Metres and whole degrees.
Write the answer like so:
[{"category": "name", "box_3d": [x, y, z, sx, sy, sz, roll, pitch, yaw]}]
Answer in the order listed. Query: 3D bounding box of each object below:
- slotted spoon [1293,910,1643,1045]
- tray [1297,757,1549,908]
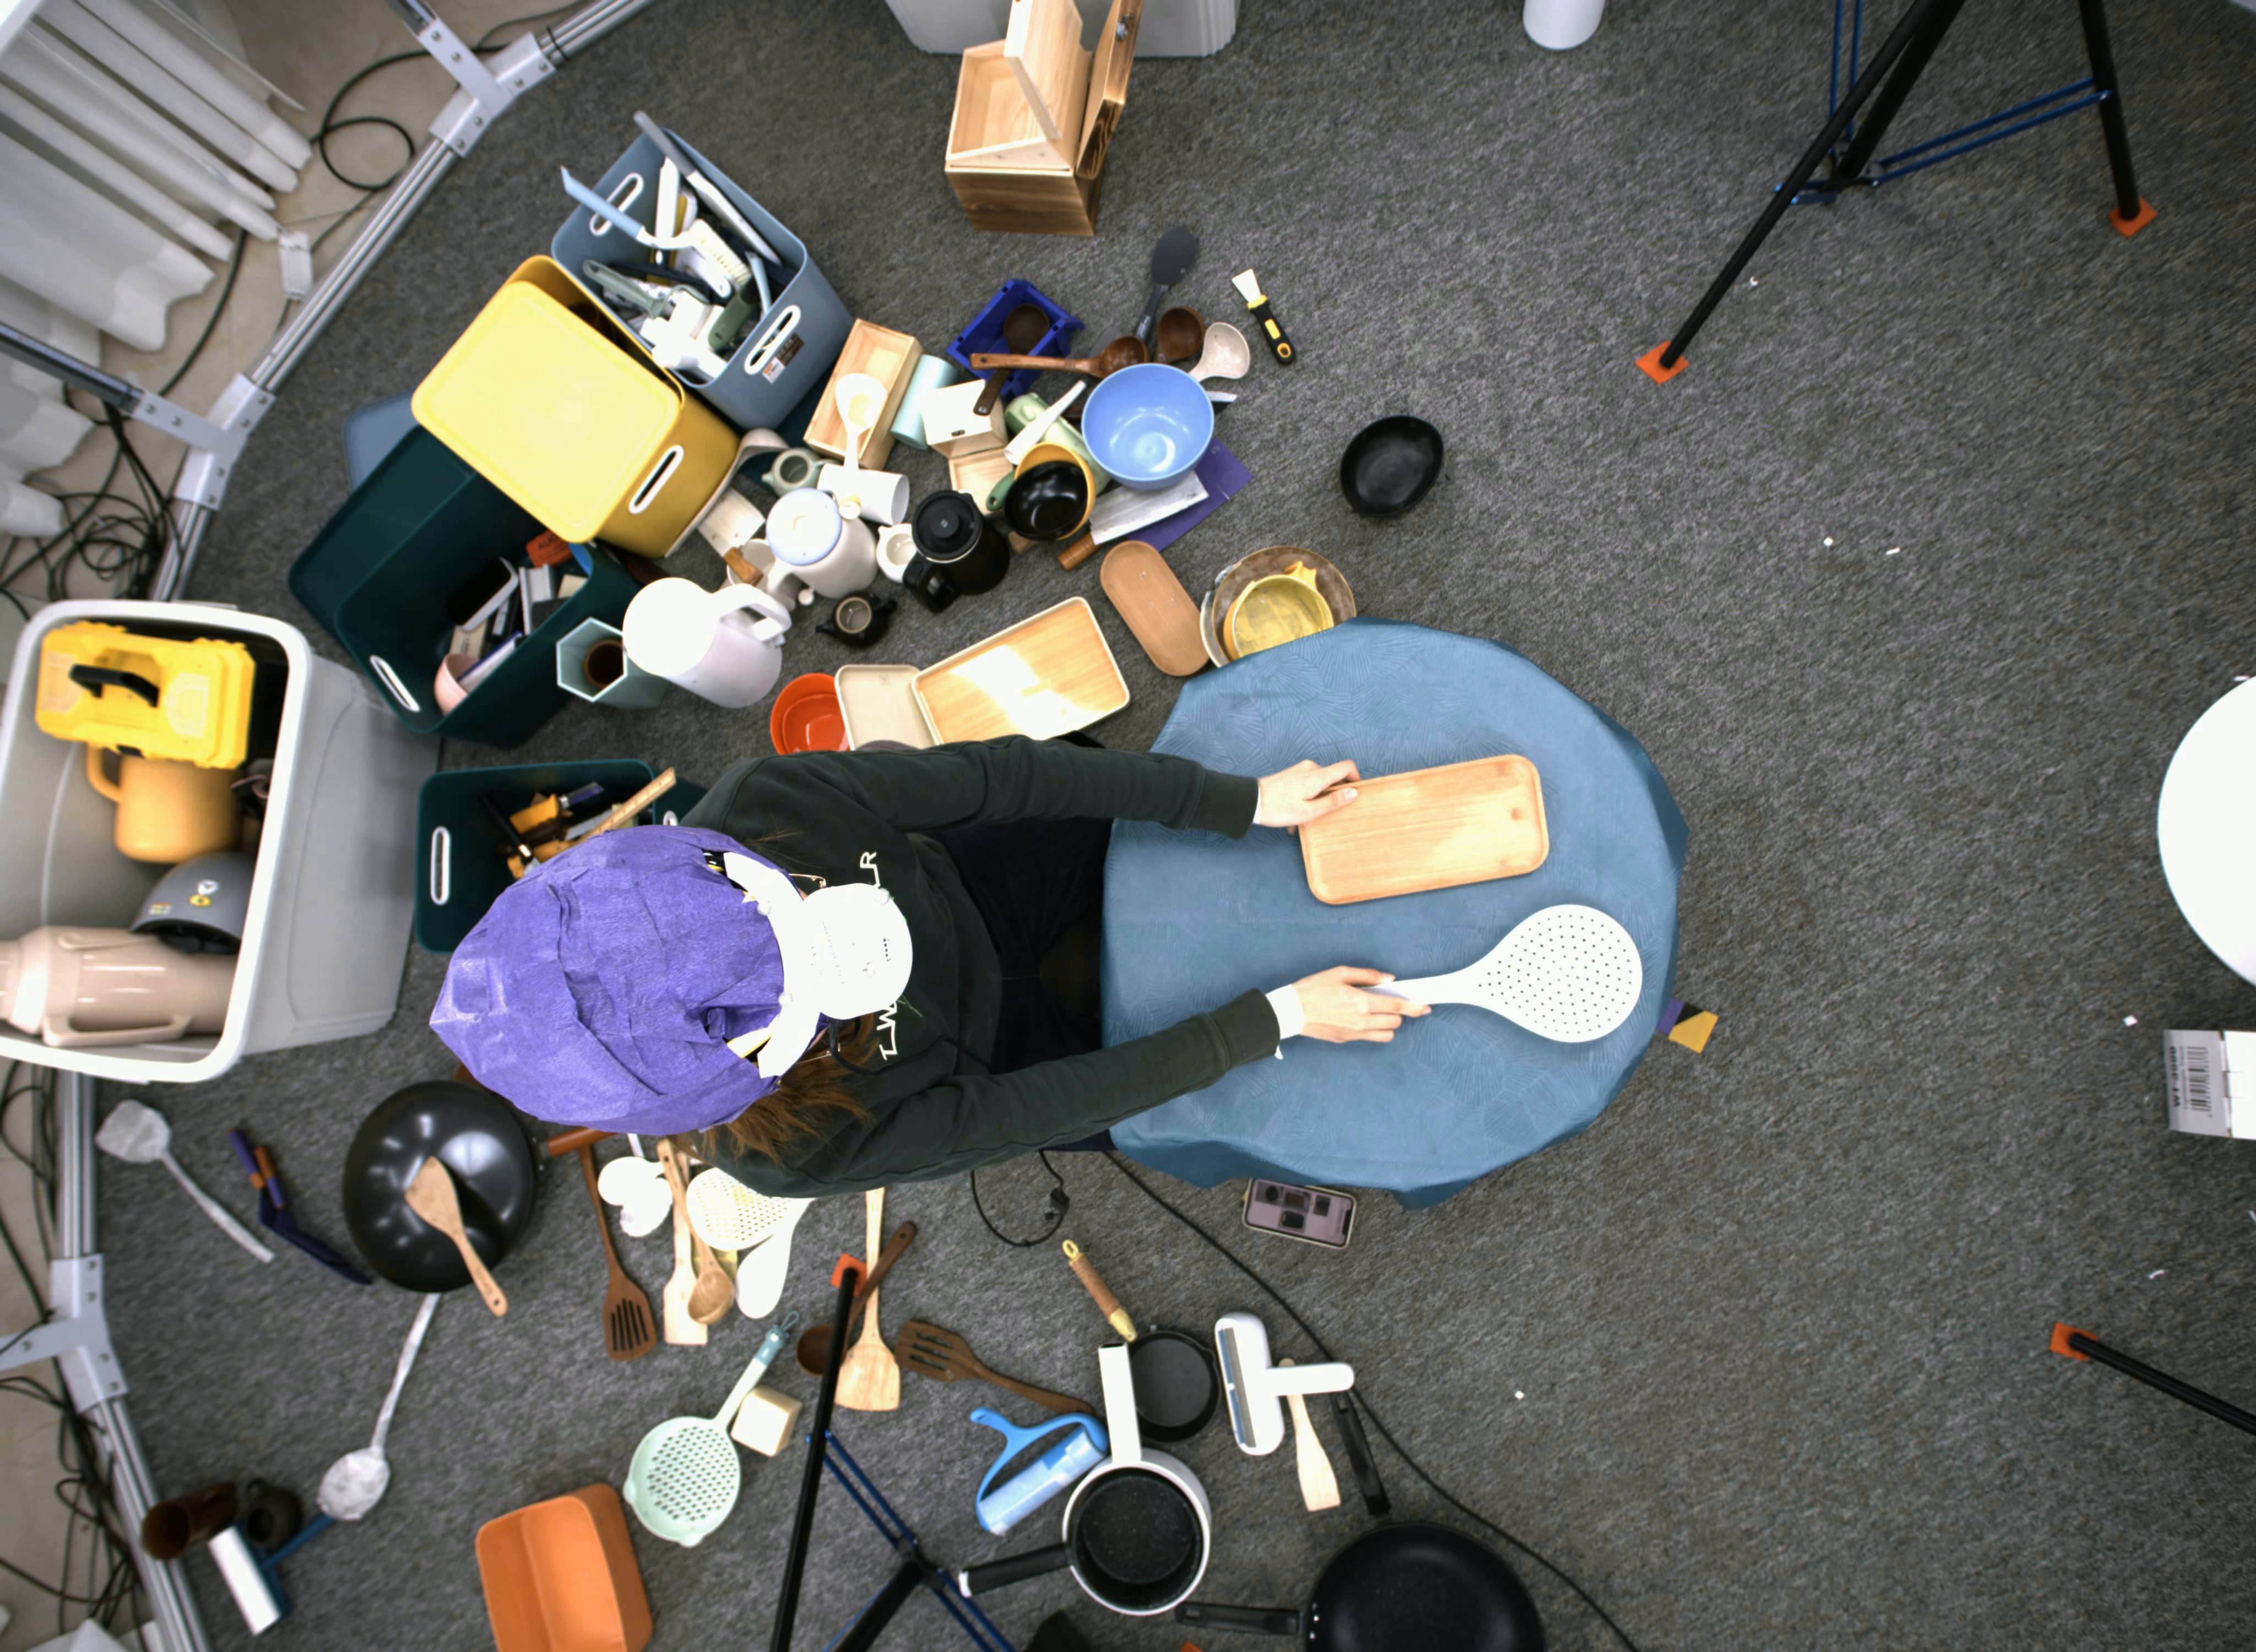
[{"category": "slotted spoon", "box_3d": [0.345, 0.166, 1.417, 0.351, 0.046, 0.134, -7, 80, 8]}, {"category": "tray", "box_3d": [0.307, 0.006, 1.435, 0.252, 0.022, 0.131, -10, 101, 10]}]
